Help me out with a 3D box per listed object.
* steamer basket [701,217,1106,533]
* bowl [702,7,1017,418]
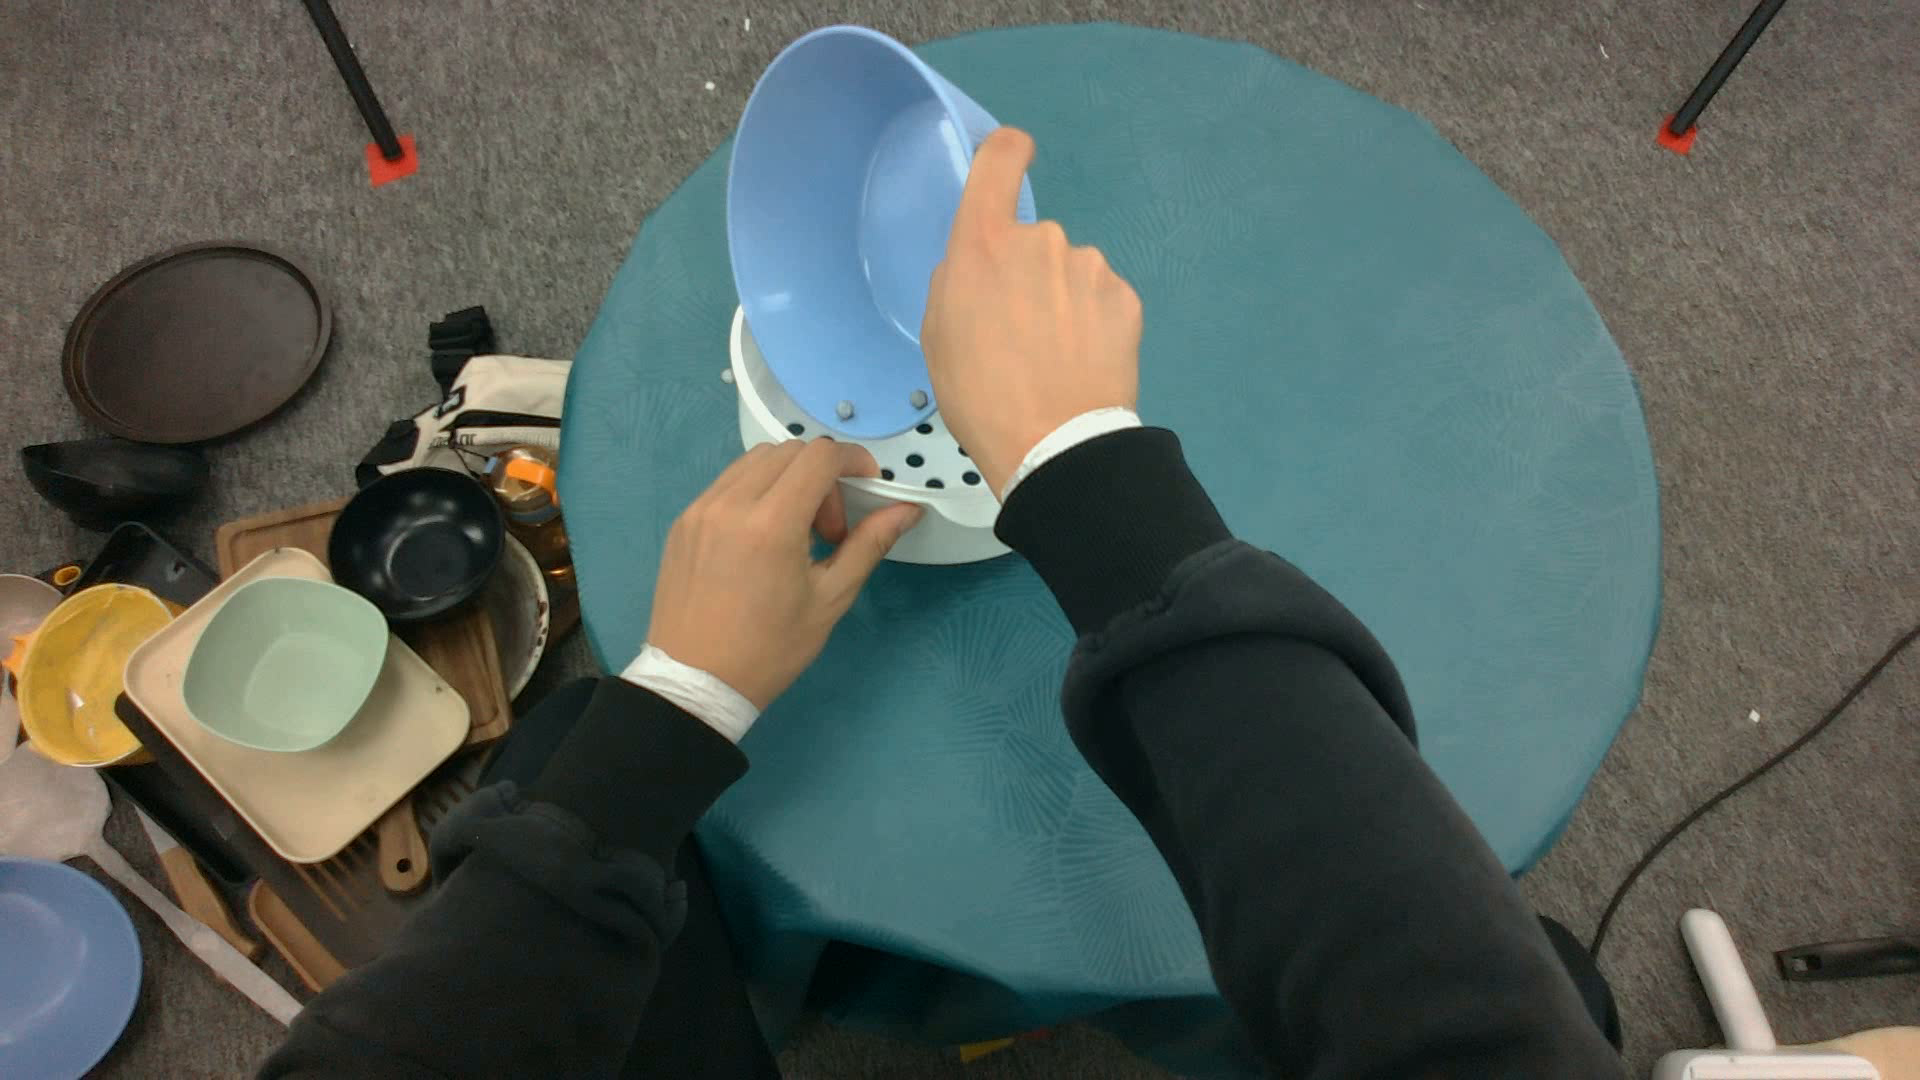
[{"bbox_3d":[-0.030,-0.093,0.706,0.202,0.069,0.231,-14,54,-19],"label":"steamer basket"},{"bbox_3d":[-0.038,-0.148,0.626,0.070,0.175,0.176,-19,65,-43],"label":"bowl"}]
